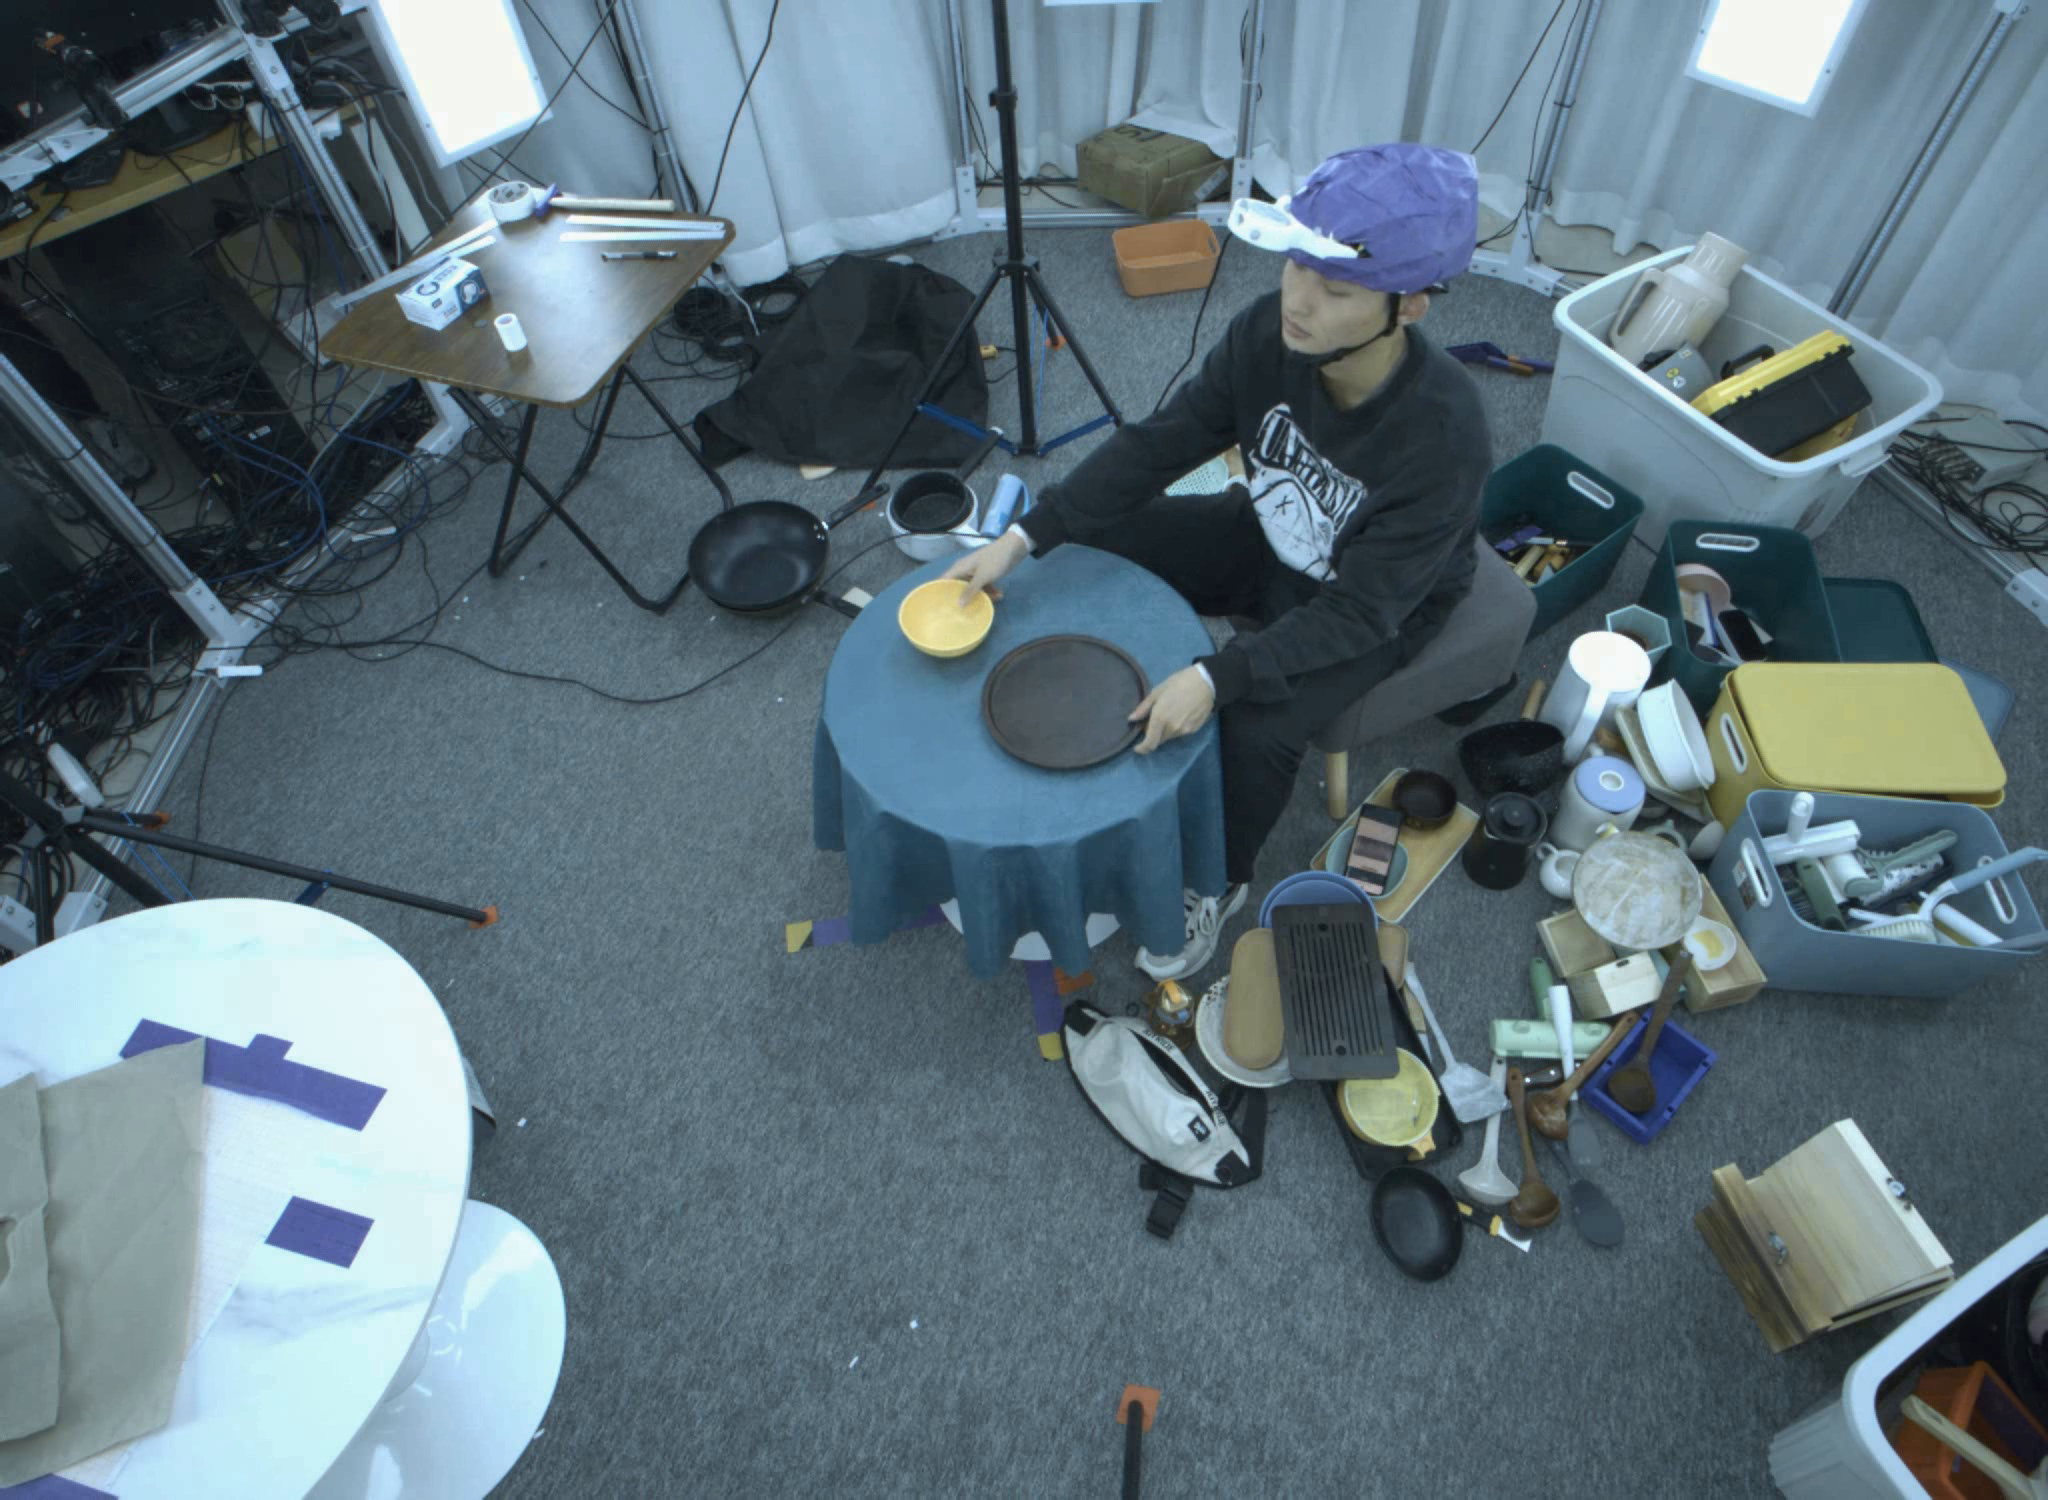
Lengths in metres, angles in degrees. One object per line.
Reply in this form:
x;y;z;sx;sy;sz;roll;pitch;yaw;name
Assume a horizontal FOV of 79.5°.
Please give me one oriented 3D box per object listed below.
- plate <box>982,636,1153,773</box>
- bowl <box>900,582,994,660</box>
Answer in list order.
0.065;-0.068;1.830;0.254;0.029;0.252;0;53;2;plate
-0.118;-0.187;1.897;0.145;0.060;0.144;2;55;-1;bowl
